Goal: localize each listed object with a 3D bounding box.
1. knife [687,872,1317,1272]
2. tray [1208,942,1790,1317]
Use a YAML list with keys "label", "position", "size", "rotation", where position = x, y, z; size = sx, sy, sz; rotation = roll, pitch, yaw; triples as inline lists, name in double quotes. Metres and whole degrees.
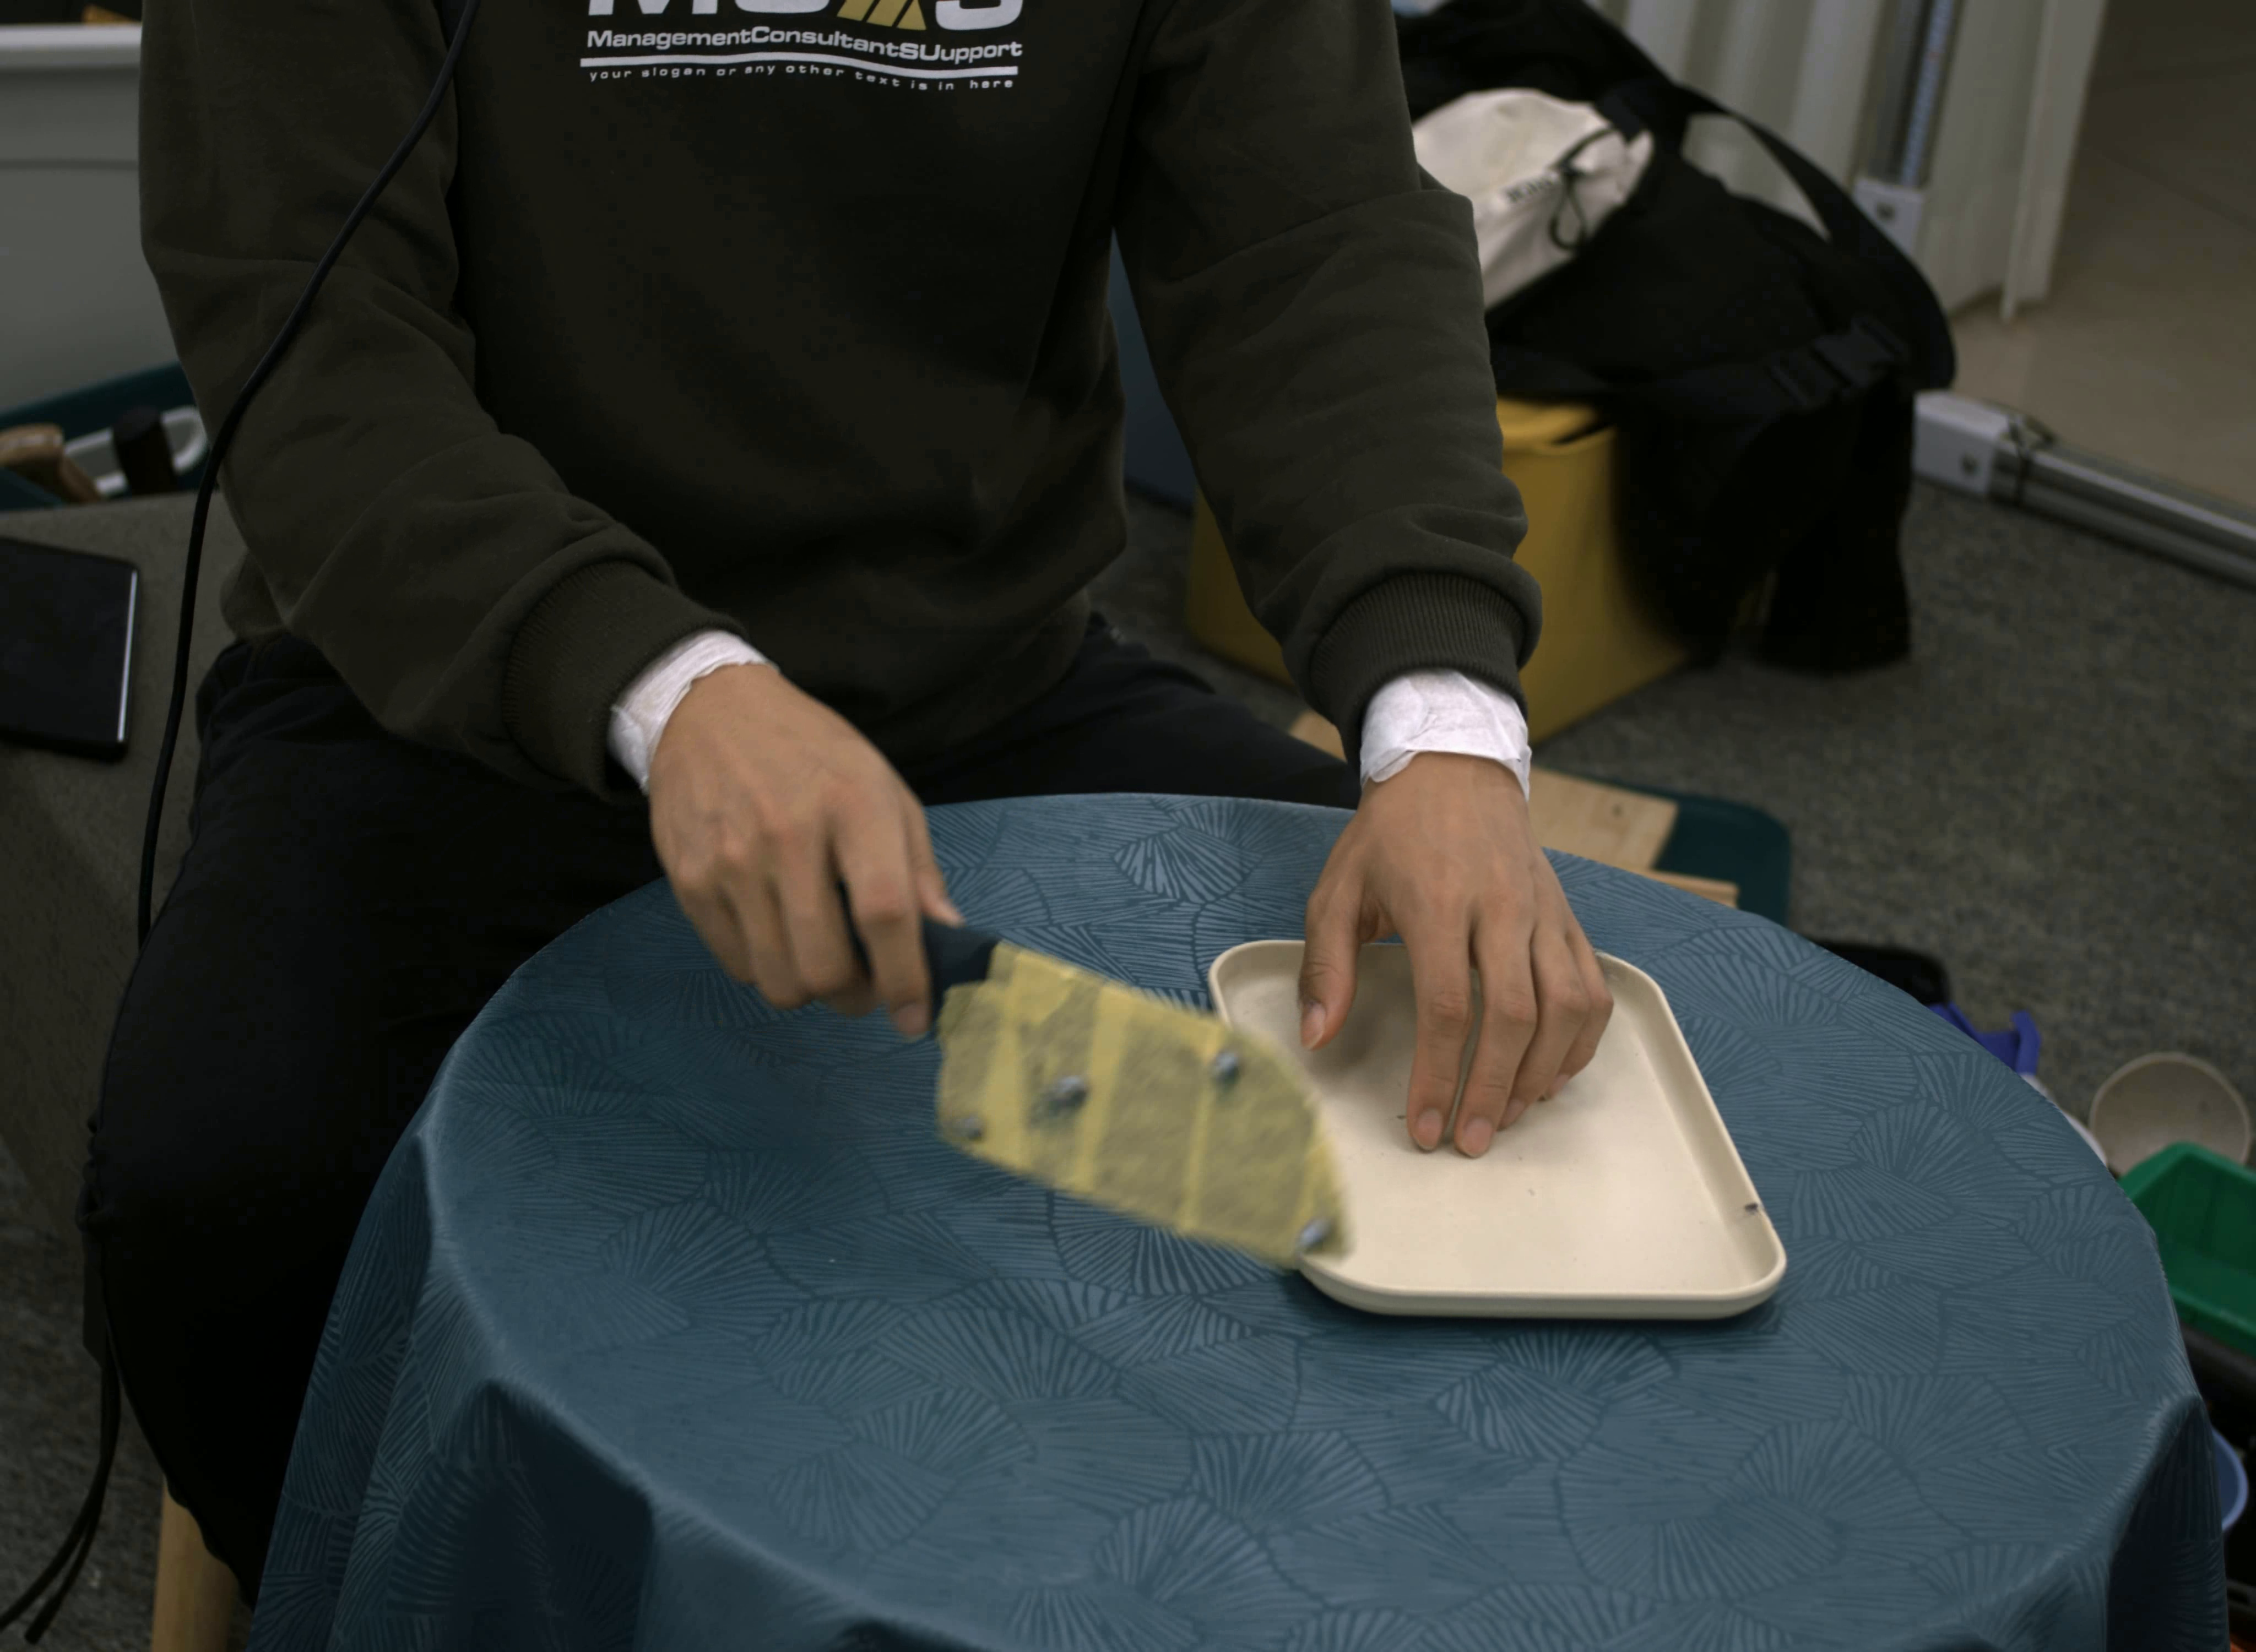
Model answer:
- label: "knife"
  position: [-0.045, 0.078, 1.750]
  size: [0.291, 0.081, 0.027]
  rotation: [24, 14, 38]
- label: "tray"
  position: [0.124, 0.105, 1.851]
  size: [0.170, 0.017, 0.241]
  rotation: [1, 27, -9]
